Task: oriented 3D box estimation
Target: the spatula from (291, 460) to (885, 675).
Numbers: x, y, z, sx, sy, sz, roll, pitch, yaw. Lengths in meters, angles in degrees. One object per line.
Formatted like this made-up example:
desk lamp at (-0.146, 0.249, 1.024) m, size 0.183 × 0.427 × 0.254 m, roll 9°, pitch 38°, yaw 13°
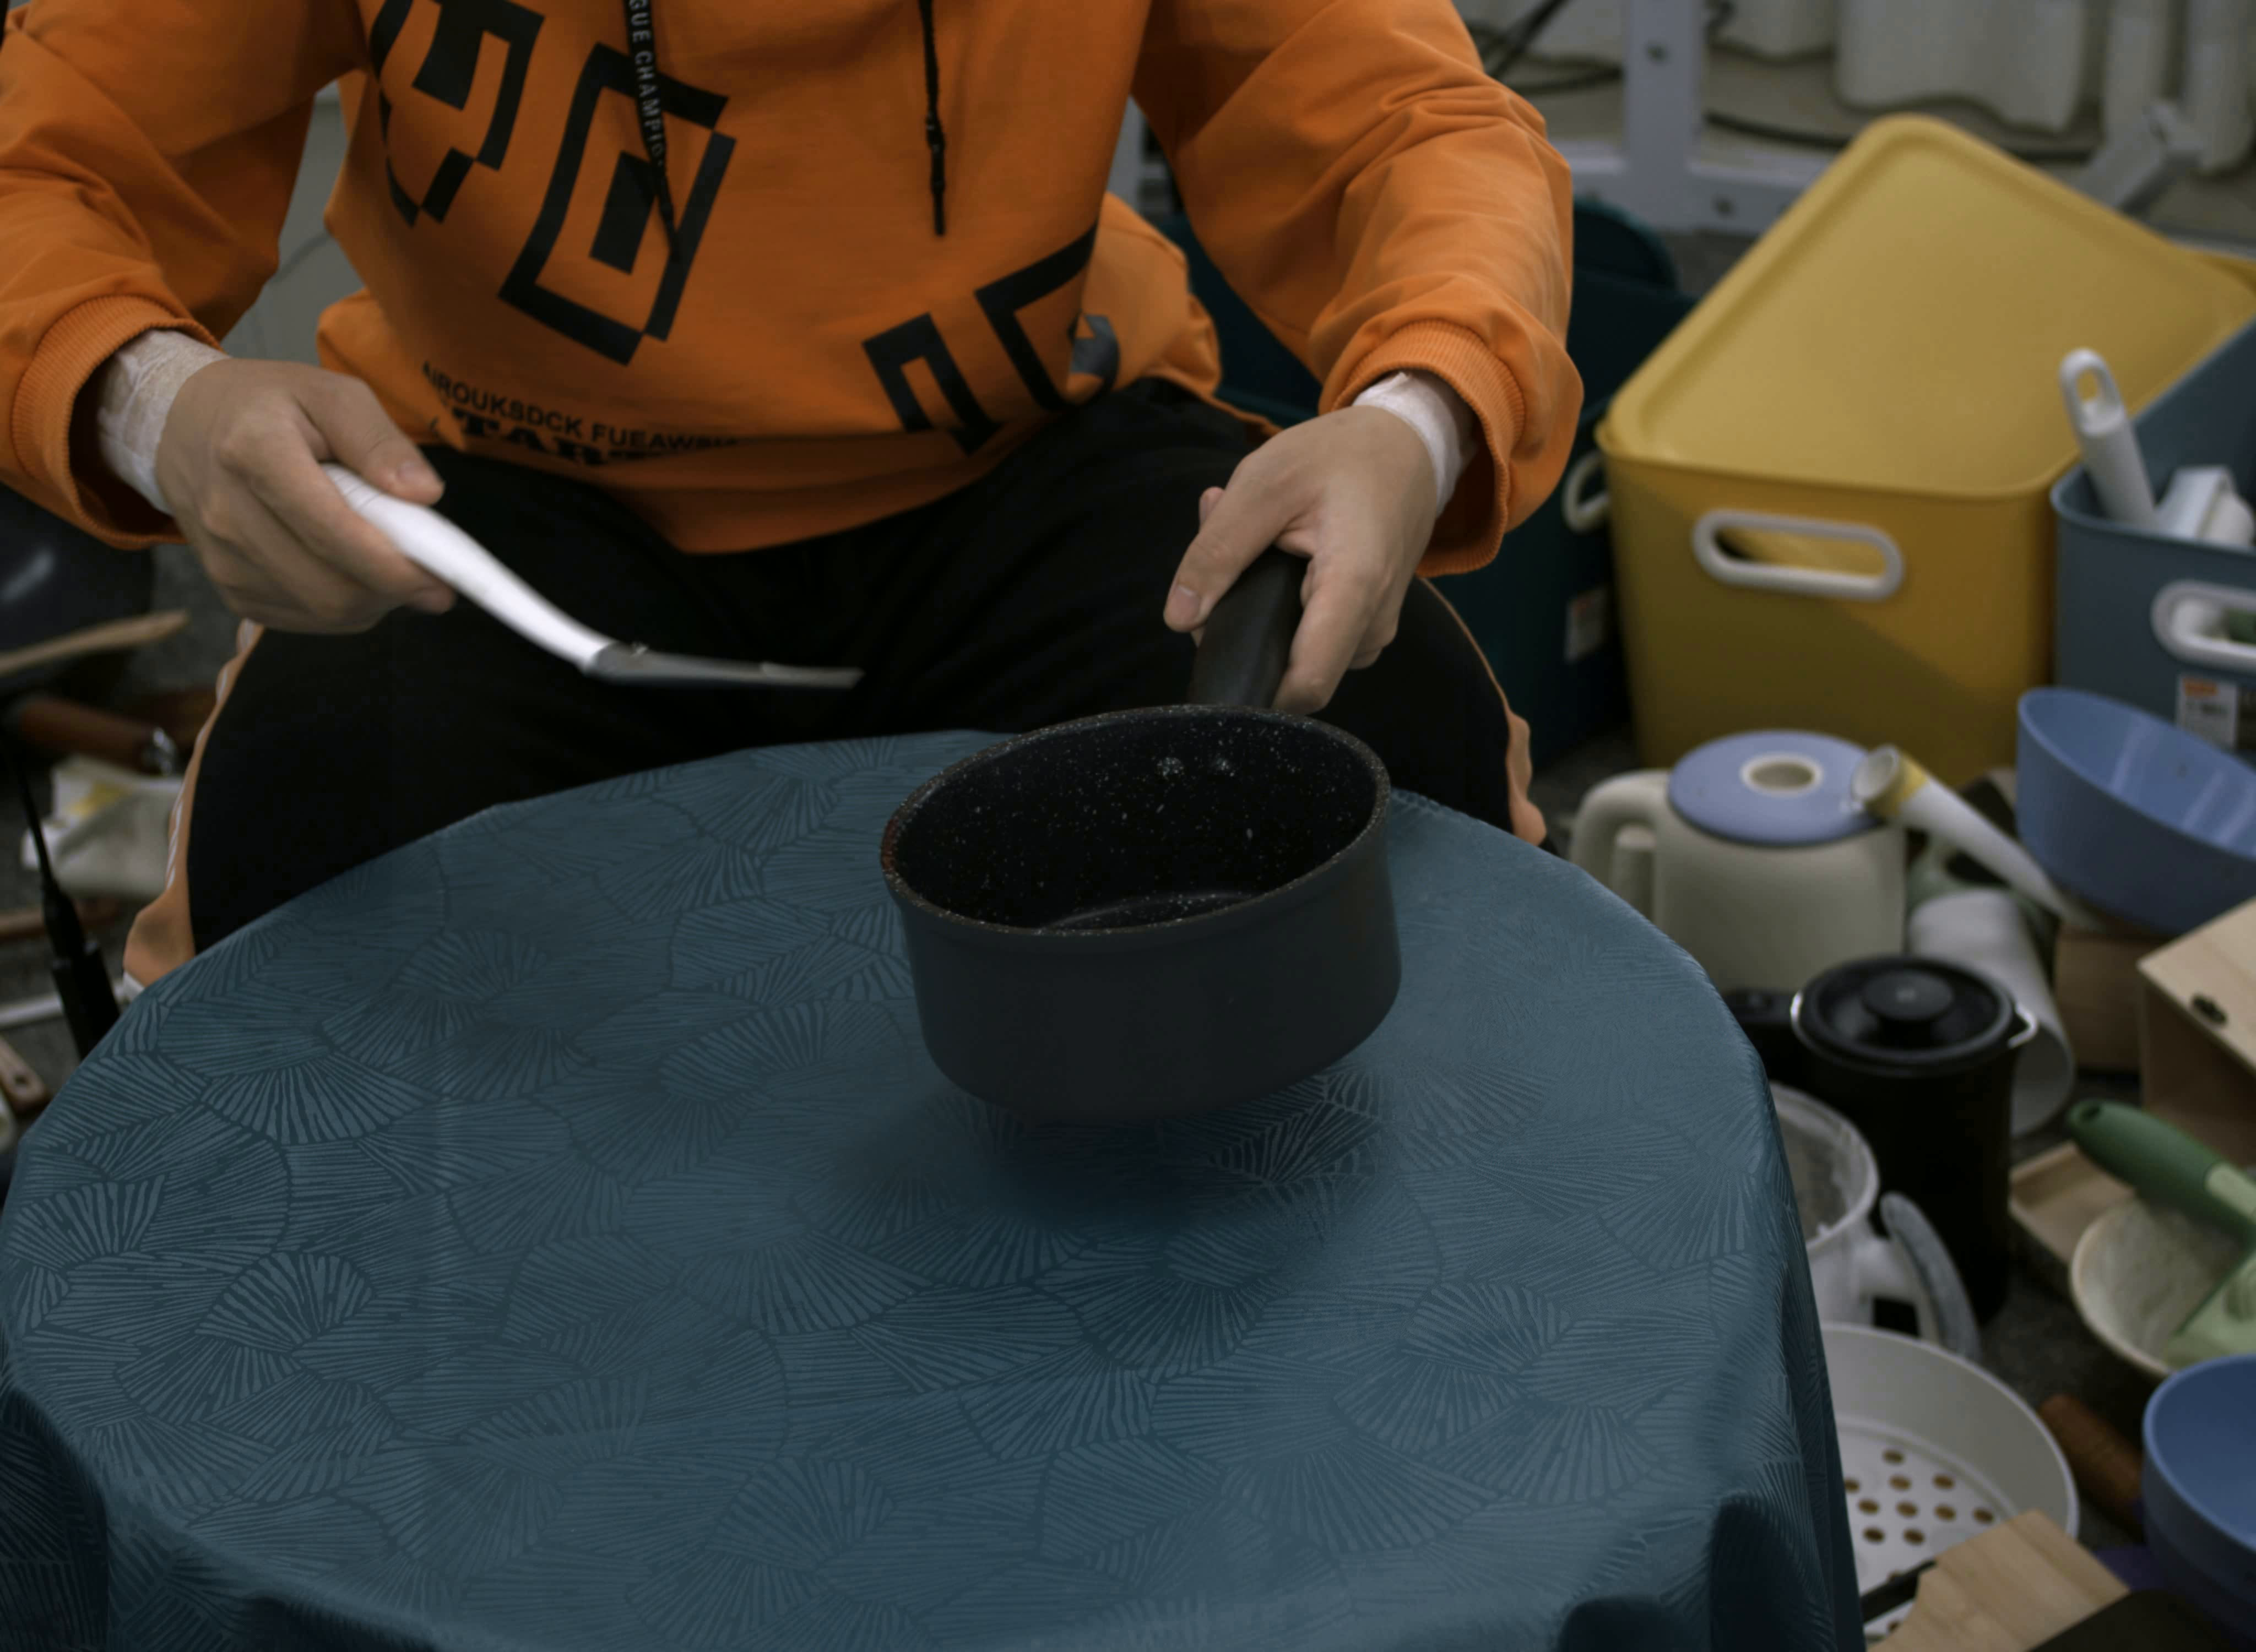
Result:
spatula at (-0.189, -0.078, 1.890) m, size 0.059 × 0.032 × 0.287 m, roll 0°, pitch 14°, yaw -43°

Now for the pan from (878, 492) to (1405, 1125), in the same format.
pan at (0.028, -0.009, 1.941) m, size 0.170 × 0.085 × 0.334 m, roll 1°, pitch 28°, yaw 18°
